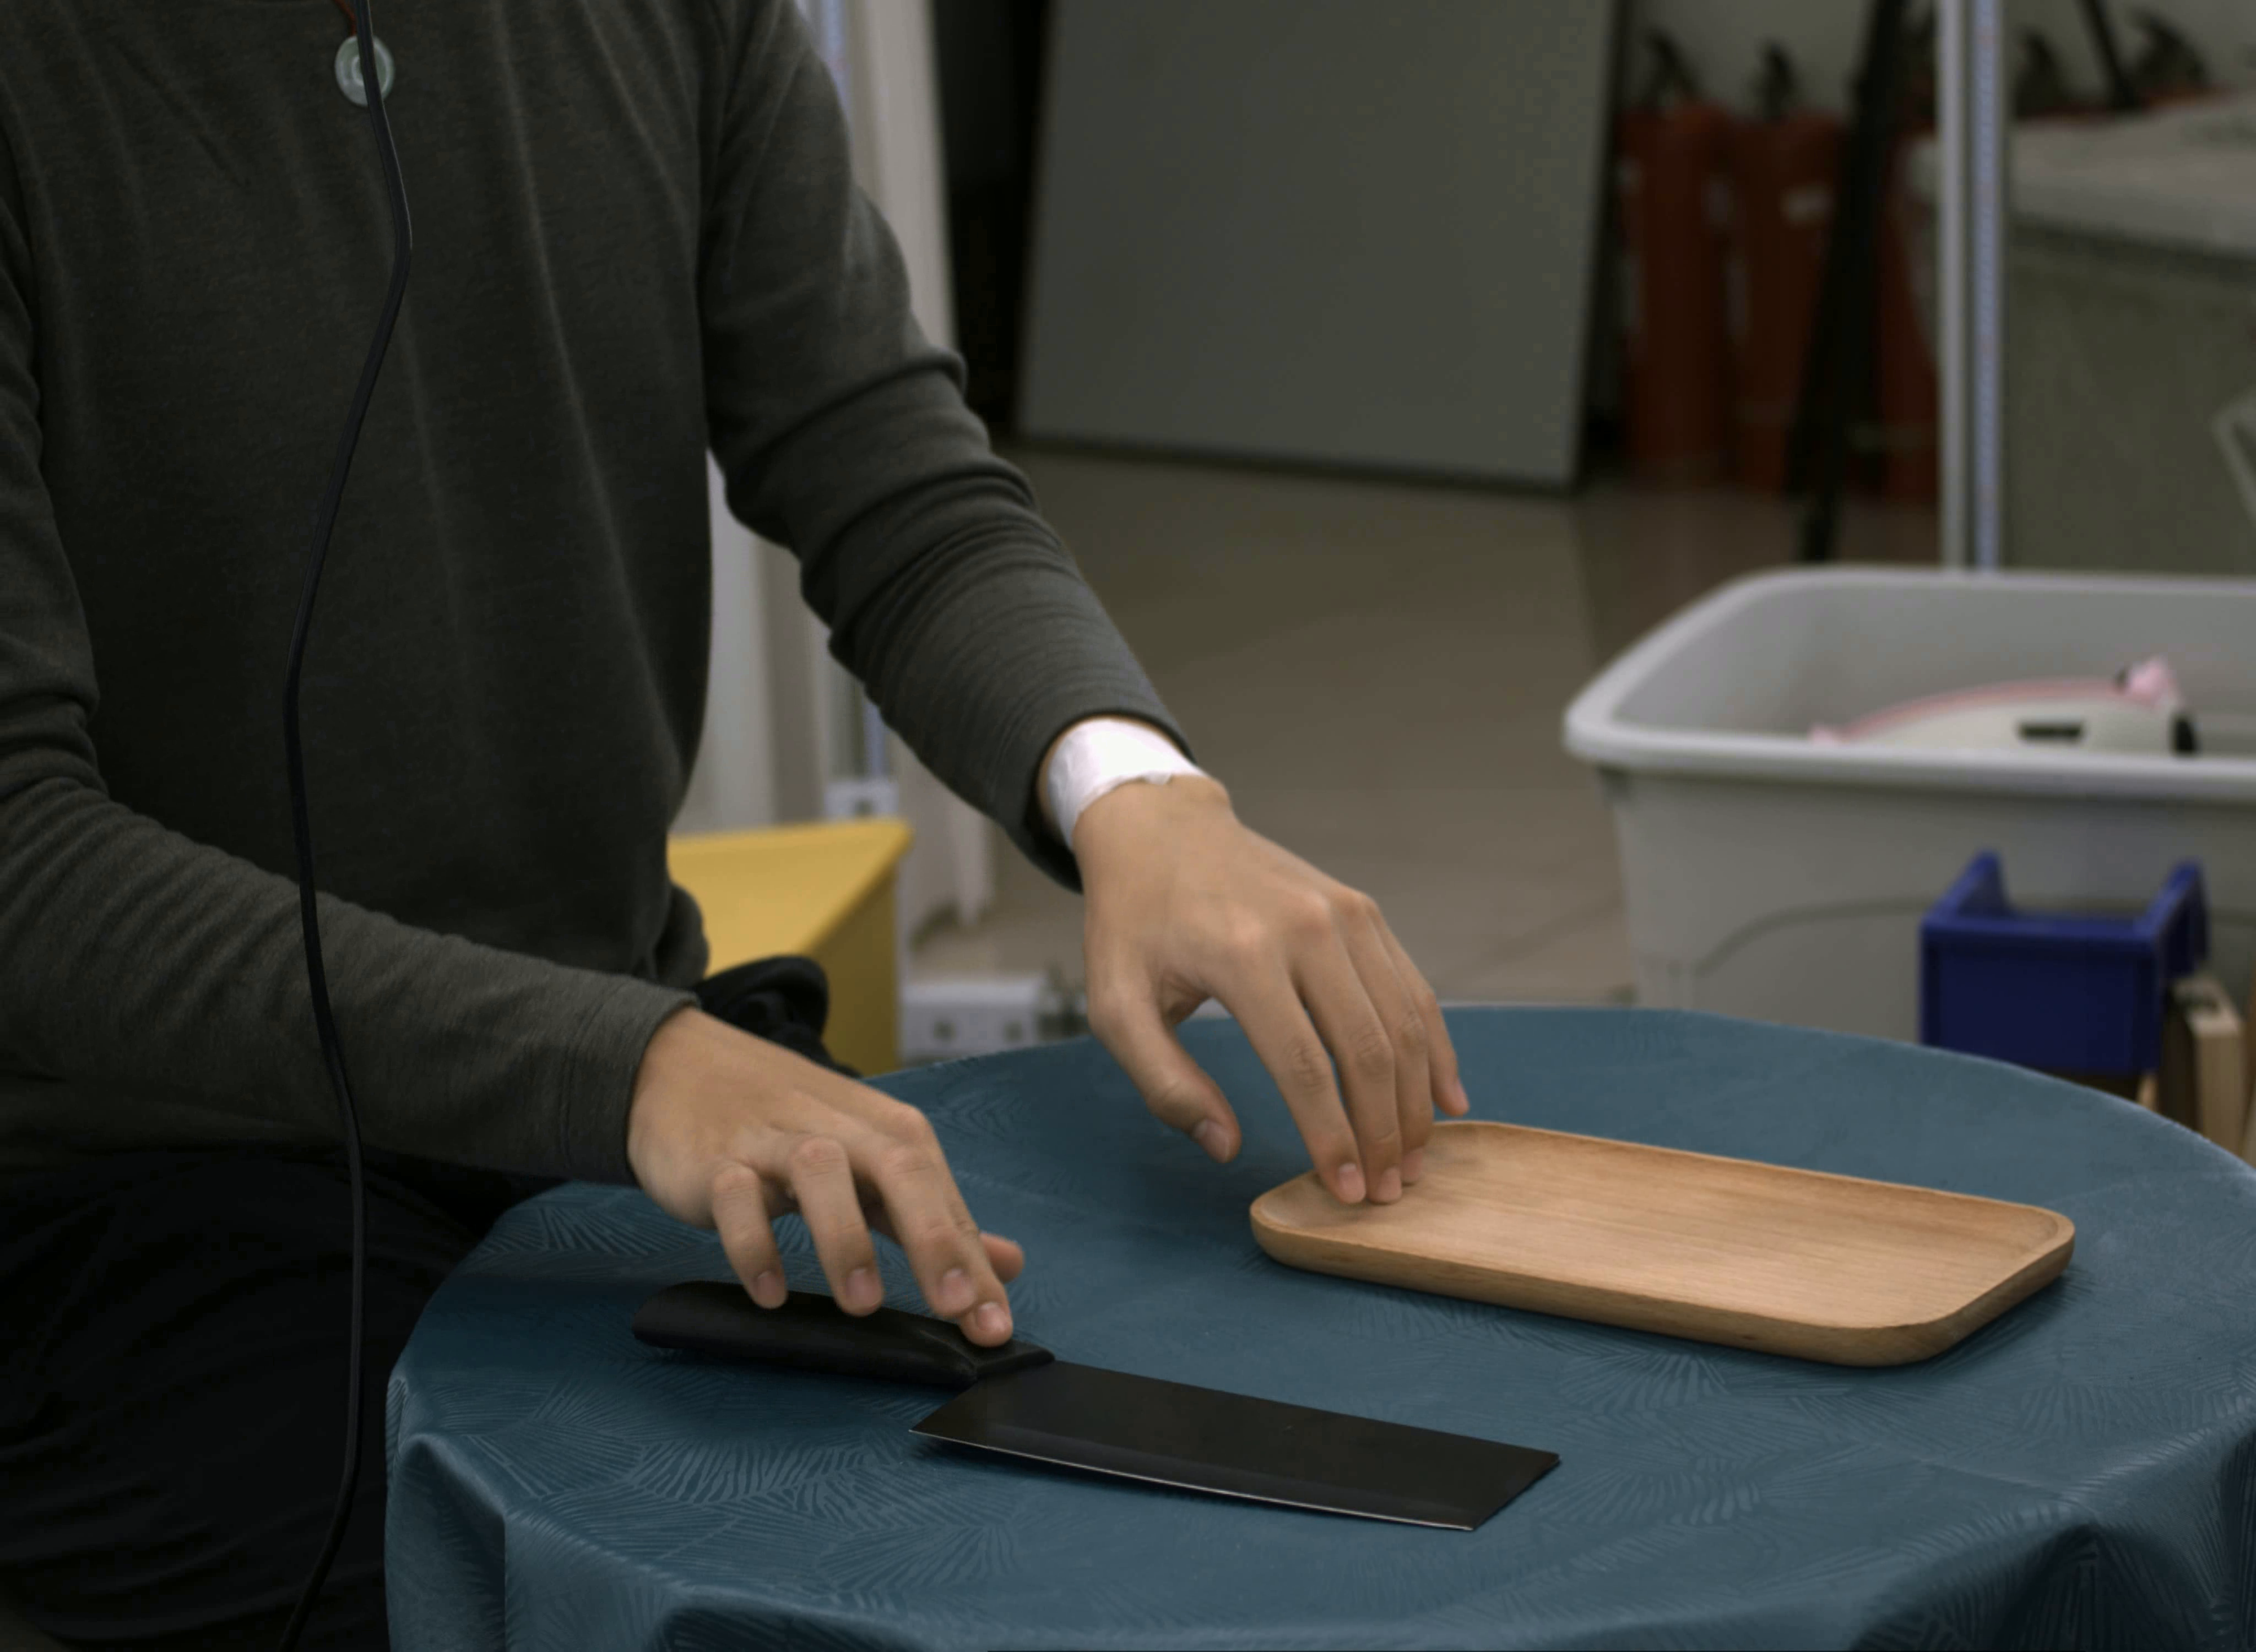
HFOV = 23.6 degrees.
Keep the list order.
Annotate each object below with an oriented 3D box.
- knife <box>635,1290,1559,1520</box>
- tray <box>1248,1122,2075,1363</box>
[{"bbox_3d":[-0.019,0.168,1.560,0.304,0.021,0.079,8,17,35],"label":"knife"},{"bbox_3d":[0.163,0.127,1.667,0.252,0.023,0.128,5,14,39],"label":"tray"}]
